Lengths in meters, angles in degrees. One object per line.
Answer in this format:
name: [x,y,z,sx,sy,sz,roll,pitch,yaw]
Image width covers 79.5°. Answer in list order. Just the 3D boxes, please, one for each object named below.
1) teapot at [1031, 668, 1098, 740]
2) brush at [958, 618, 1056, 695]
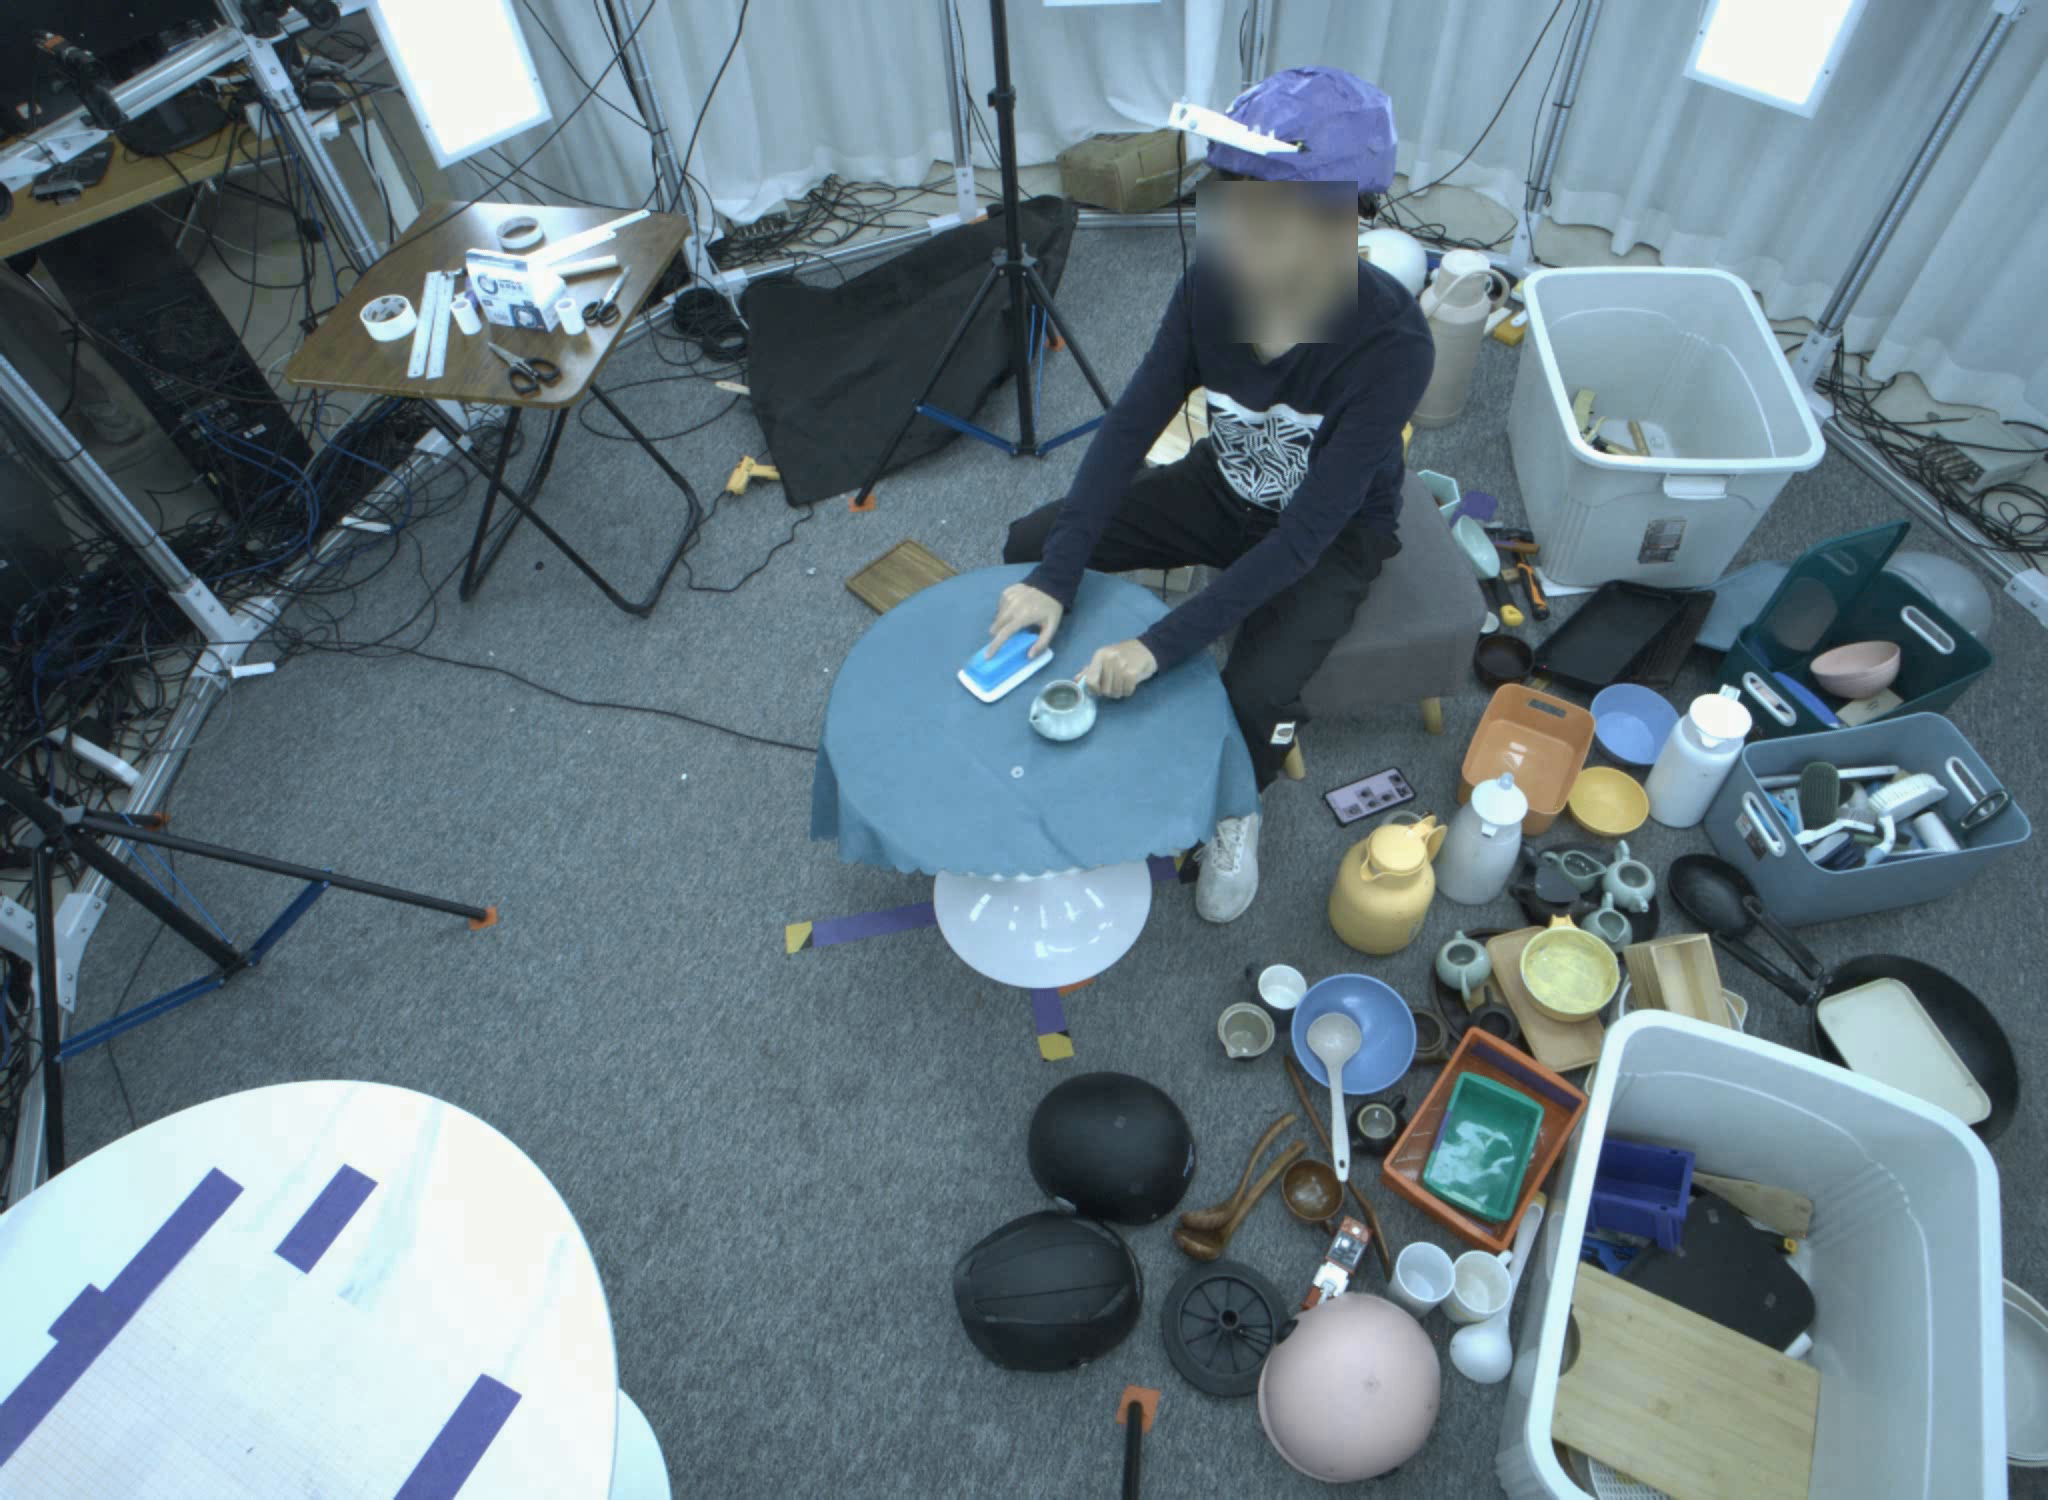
teapot: [0.060,-0.065,1.787,0.094,0.062,0.138,37,64,27]
brush: [-0.026,-0.148,1.849,0.145,0.056,0.082,-36,64,-19]
